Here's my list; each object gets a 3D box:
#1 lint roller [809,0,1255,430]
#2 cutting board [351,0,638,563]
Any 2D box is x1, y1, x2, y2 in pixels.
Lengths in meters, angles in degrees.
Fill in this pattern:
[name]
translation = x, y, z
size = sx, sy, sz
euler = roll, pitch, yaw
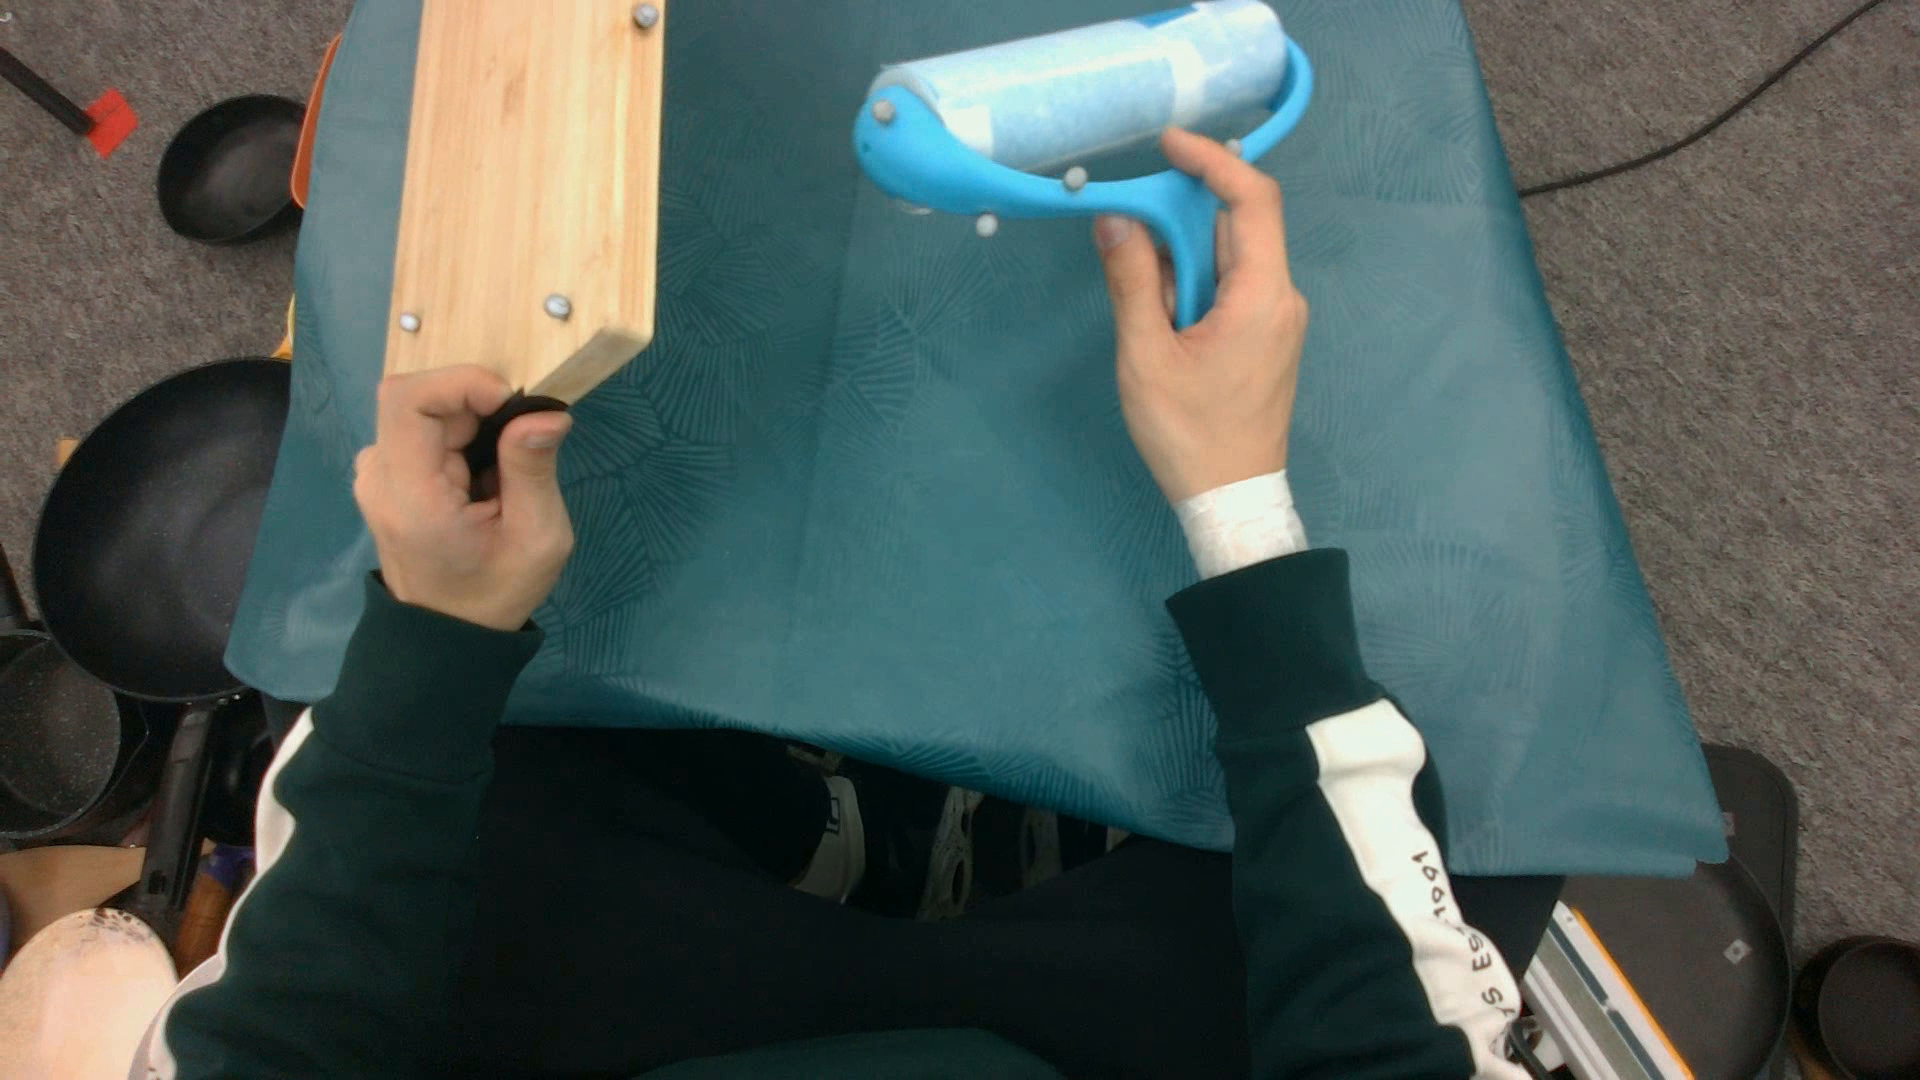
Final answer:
[lint roller]
translation = 0.059, -0.136, 0.569
size = 0.230, 0.067, 0.180
euler = -32, 99, -37
[cutting board]
translation = -0.201, -0.188, 0.591
size = 0.023, 0.249, 0.349
euler = 11, 65, -38
